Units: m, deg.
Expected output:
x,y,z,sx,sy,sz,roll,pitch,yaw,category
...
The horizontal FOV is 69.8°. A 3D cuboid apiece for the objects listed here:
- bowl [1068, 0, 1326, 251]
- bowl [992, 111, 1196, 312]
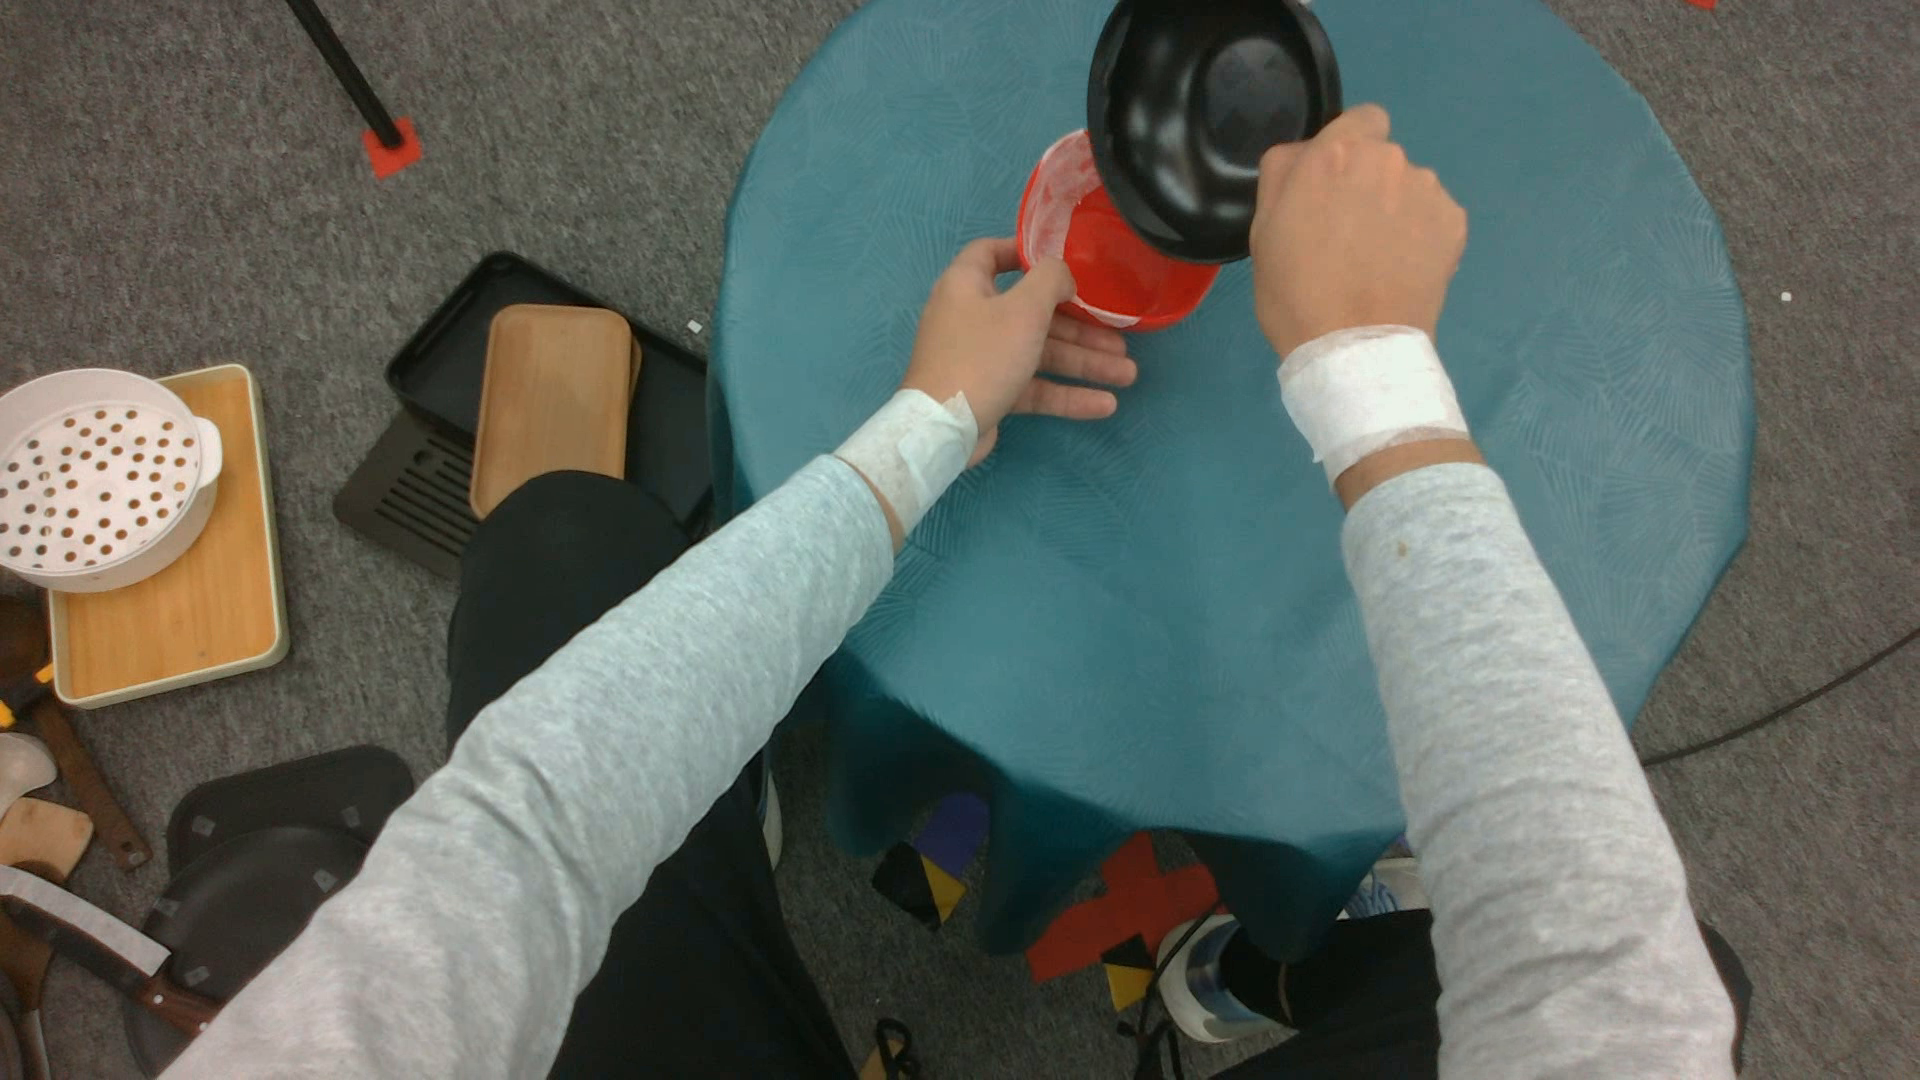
x,y,z,sx,sy,sz,roll,pitch,yaw,category
0.120,-0.214,0.665,0.050,0.139,0.140,-28,75,-40,bowl
0.070,-0.168,0.744,0.119,0.051,0.119,3,71,-7,bowl
